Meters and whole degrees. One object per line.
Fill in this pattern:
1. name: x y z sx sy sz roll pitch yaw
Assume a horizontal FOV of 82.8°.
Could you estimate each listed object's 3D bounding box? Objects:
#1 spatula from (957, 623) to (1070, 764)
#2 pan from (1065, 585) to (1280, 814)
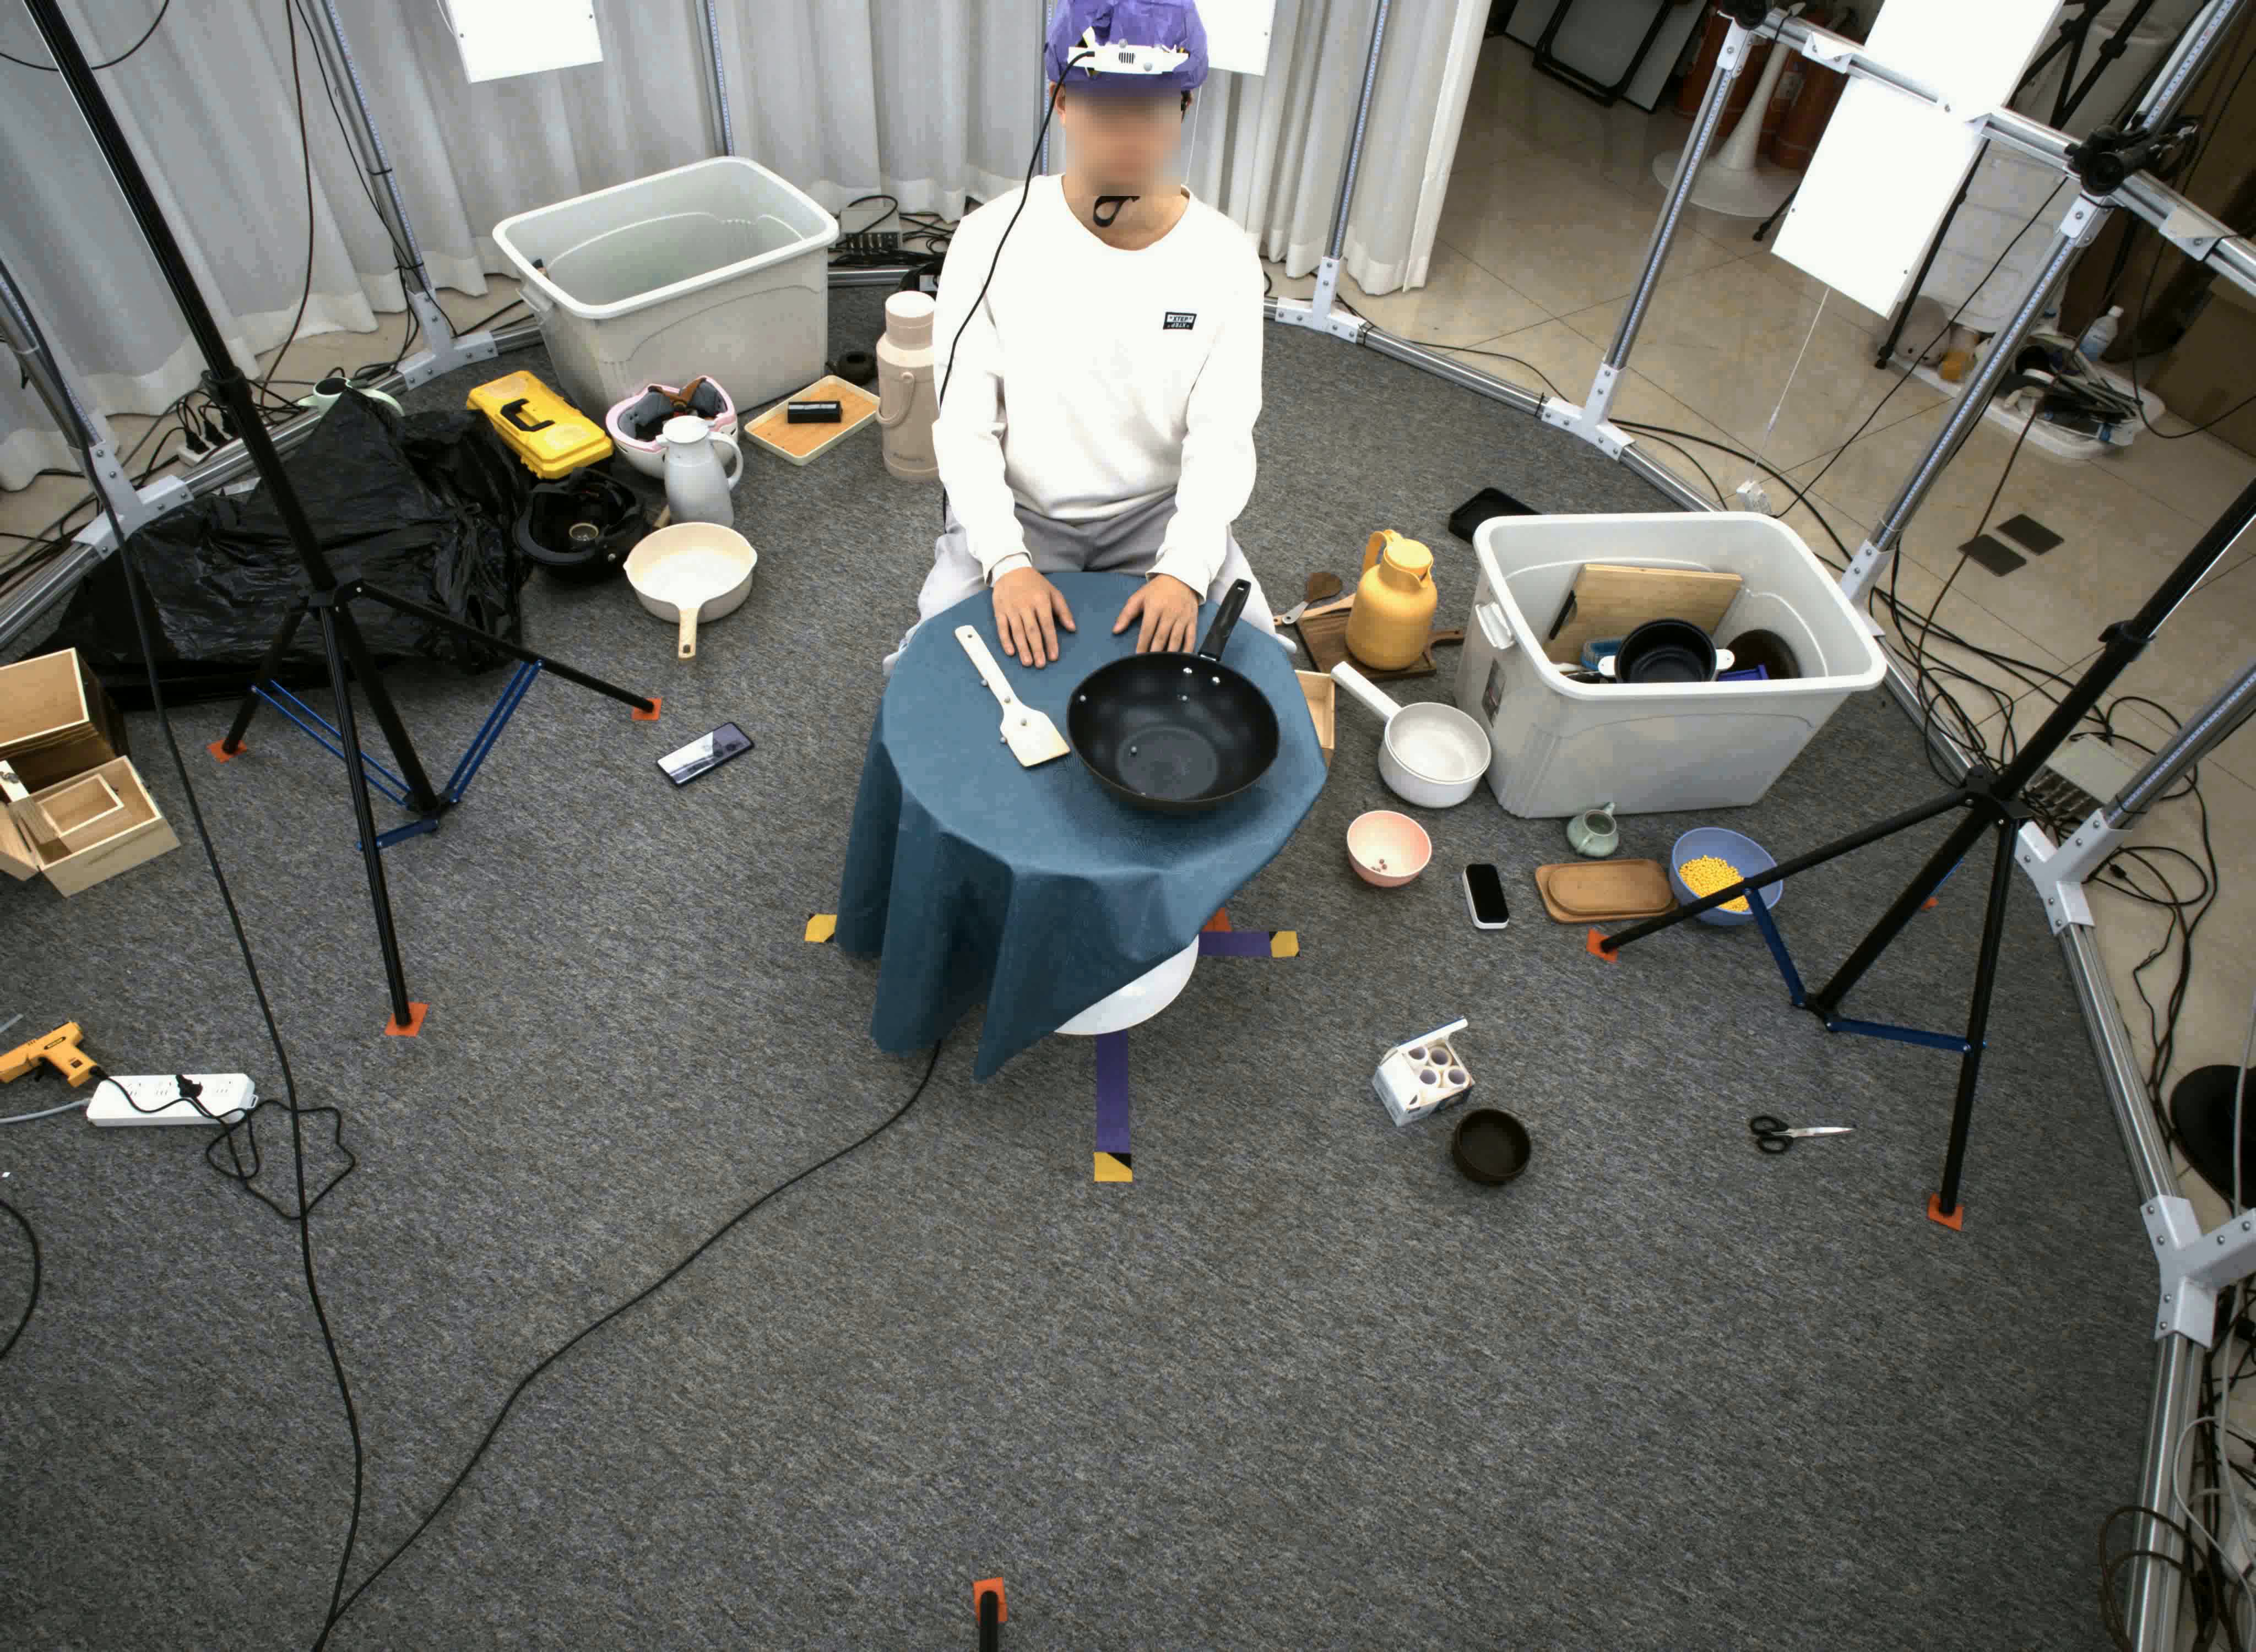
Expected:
1. spatula: -0.176 -0.193 1.814 0.072 0.010 0.299 -20 53 -19
2. pan: 0.088 -0.174 1.769 0.289 0.085 0.472 18 48 11
